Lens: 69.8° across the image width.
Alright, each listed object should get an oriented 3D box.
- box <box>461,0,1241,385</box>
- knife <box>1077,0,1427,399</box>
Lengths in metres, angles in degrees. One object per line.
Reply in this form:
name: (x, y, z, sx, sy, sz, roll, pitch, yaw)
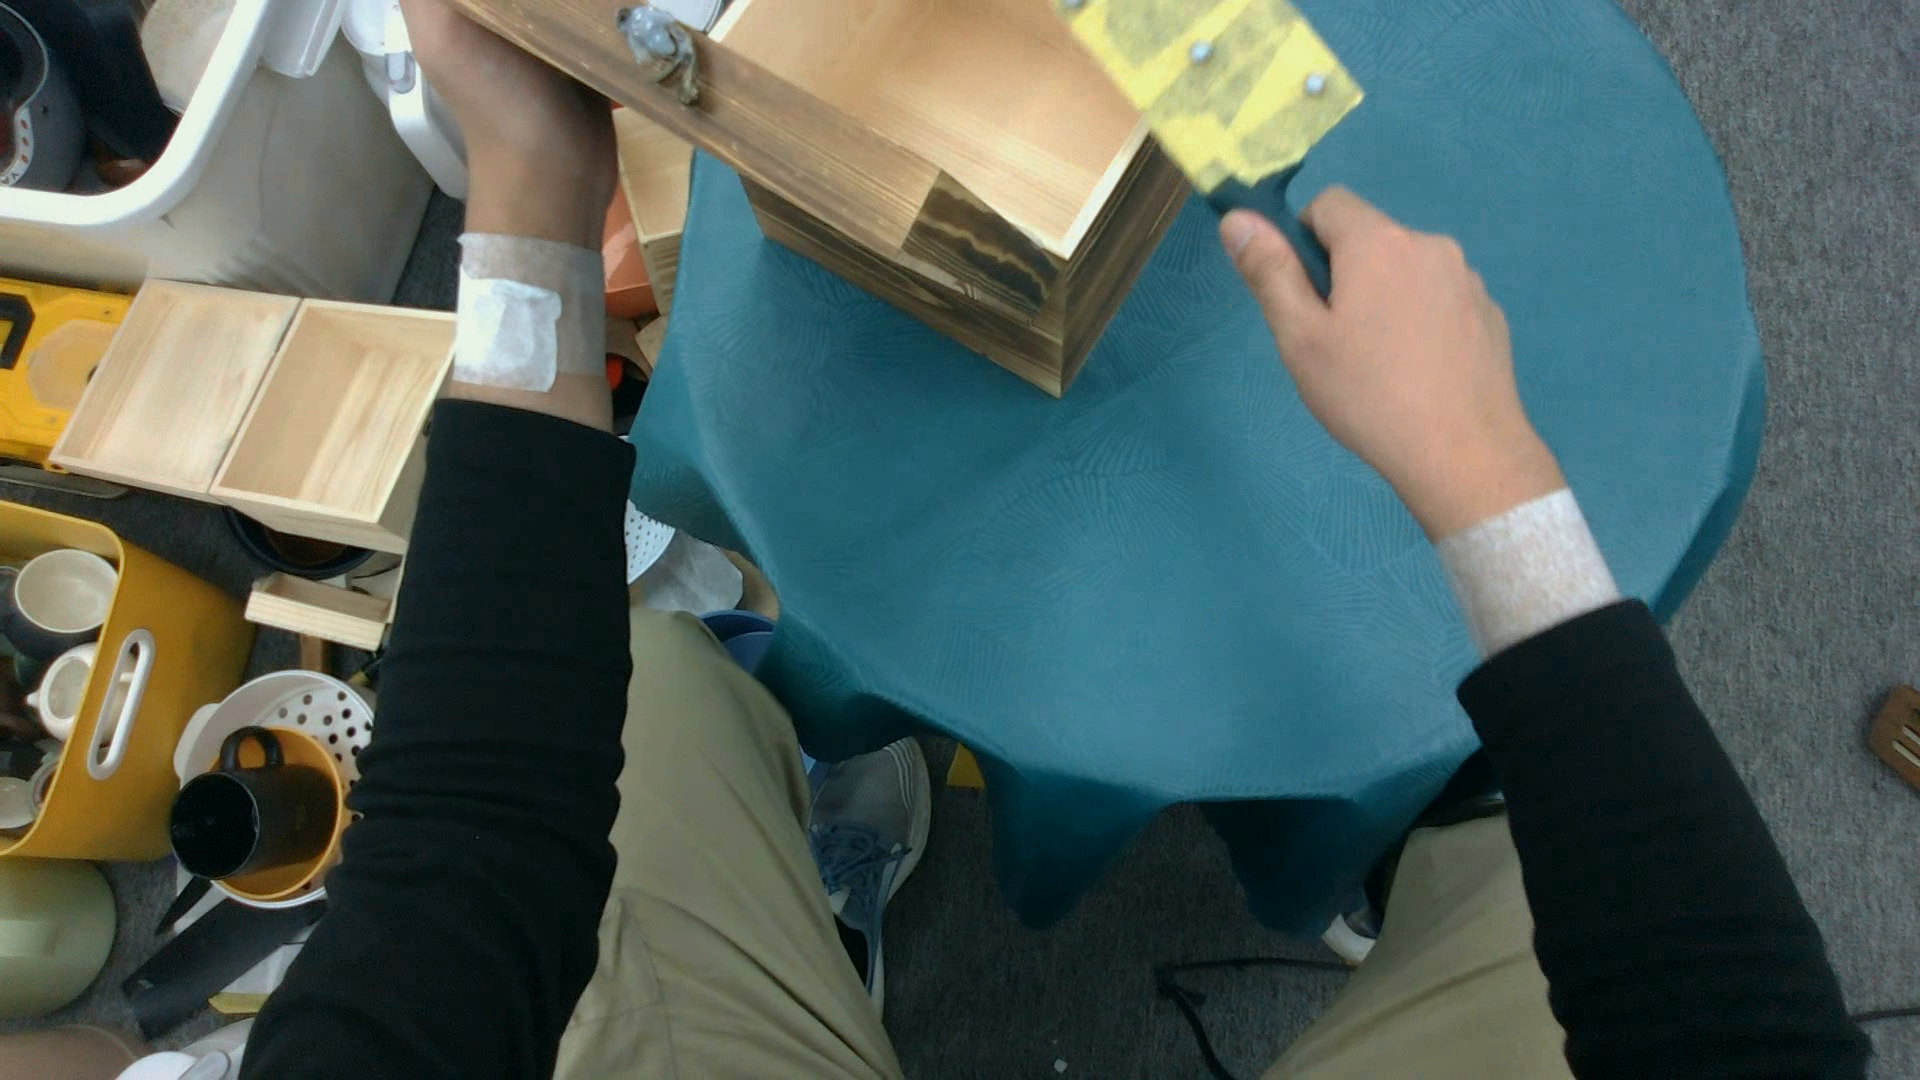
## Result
box: (-0.019, -0.218, 0.619, 0.209, 0.374, 0.323, 30, 79, 9)
knife: (0.117, -0.188, 0.571, 0.080, 0.027, 0.289, -34, 86, 31)
